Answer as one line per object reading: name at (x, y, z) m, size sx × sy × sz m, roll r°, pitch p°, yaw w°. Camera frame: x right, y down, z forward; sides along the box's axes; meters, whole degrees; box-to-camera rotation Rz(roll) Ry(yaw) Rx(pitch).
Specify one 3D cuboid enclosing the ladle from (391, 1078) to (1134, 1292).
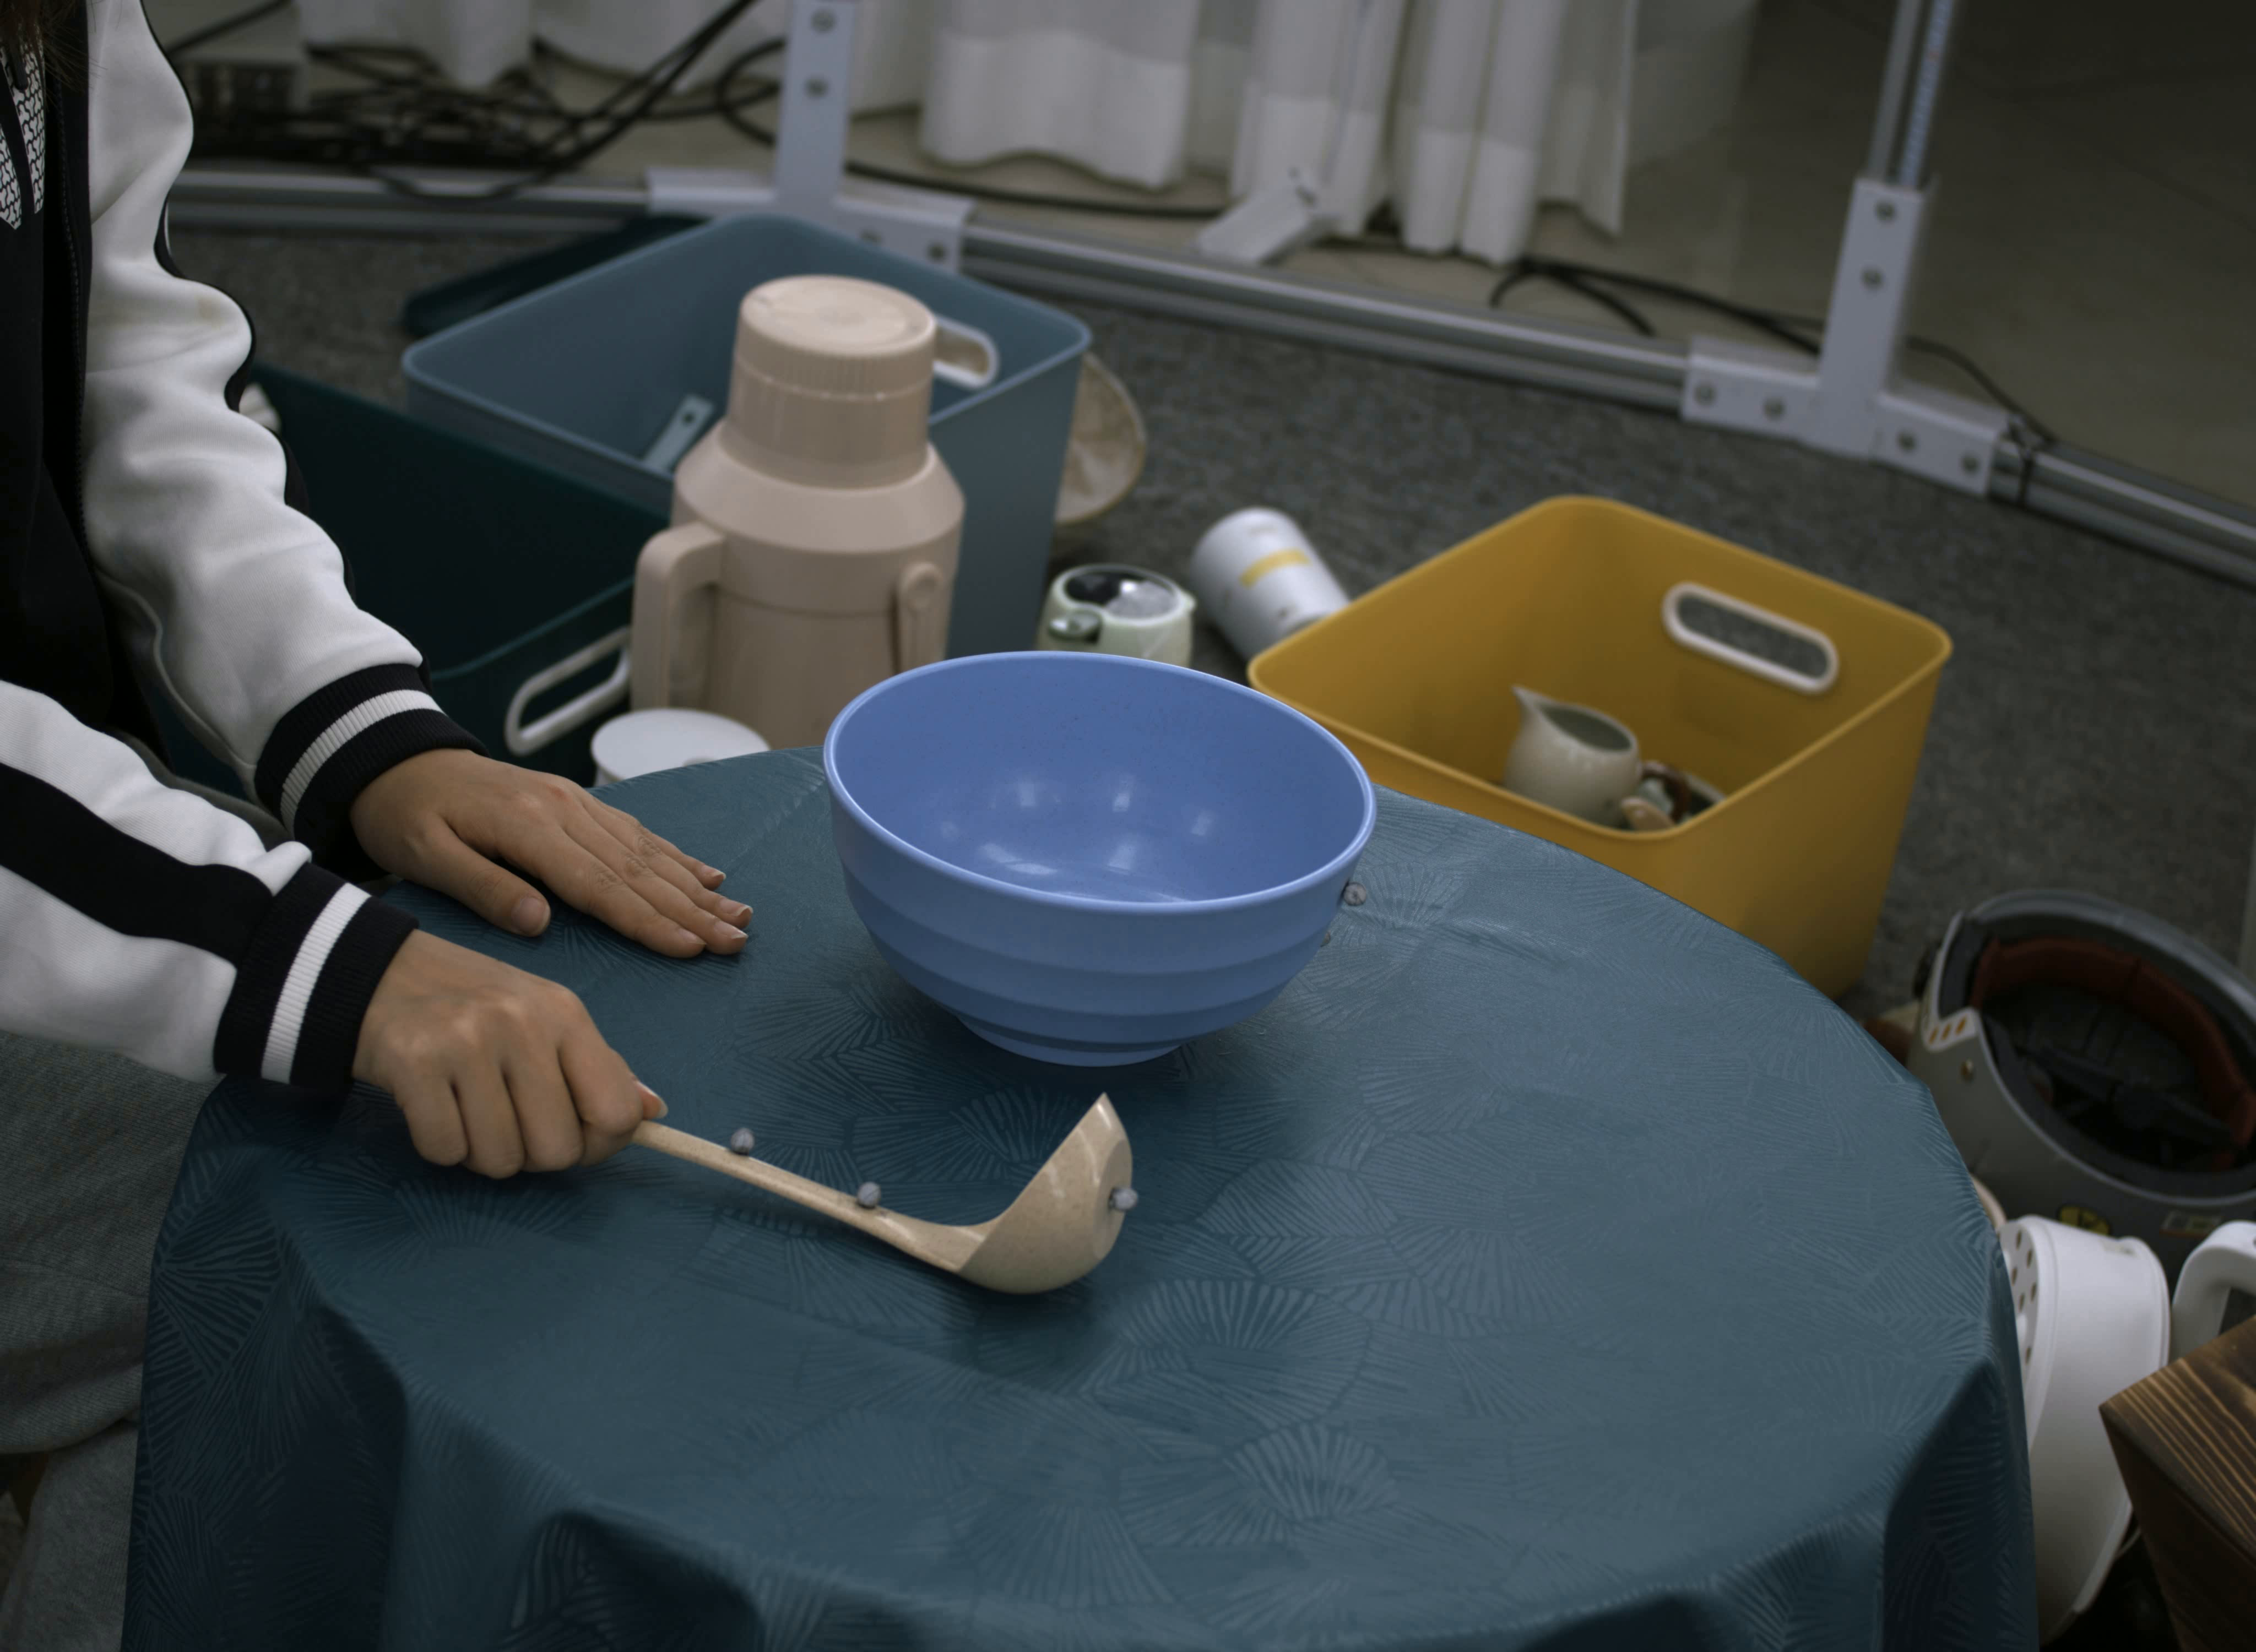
ladle at (-0.122, 0.091, 1.751) m, size 0.255 × 0.072 × 0.072 m, roll 15°, pitch 24°, yaw 12°

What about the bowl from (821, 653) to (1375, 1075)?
bowl at (-0.014, 0.025, 1.895) m, size 0.196 × 0.095 × 0.198 m, roll 4°, pitch 28°, yaw -3°
